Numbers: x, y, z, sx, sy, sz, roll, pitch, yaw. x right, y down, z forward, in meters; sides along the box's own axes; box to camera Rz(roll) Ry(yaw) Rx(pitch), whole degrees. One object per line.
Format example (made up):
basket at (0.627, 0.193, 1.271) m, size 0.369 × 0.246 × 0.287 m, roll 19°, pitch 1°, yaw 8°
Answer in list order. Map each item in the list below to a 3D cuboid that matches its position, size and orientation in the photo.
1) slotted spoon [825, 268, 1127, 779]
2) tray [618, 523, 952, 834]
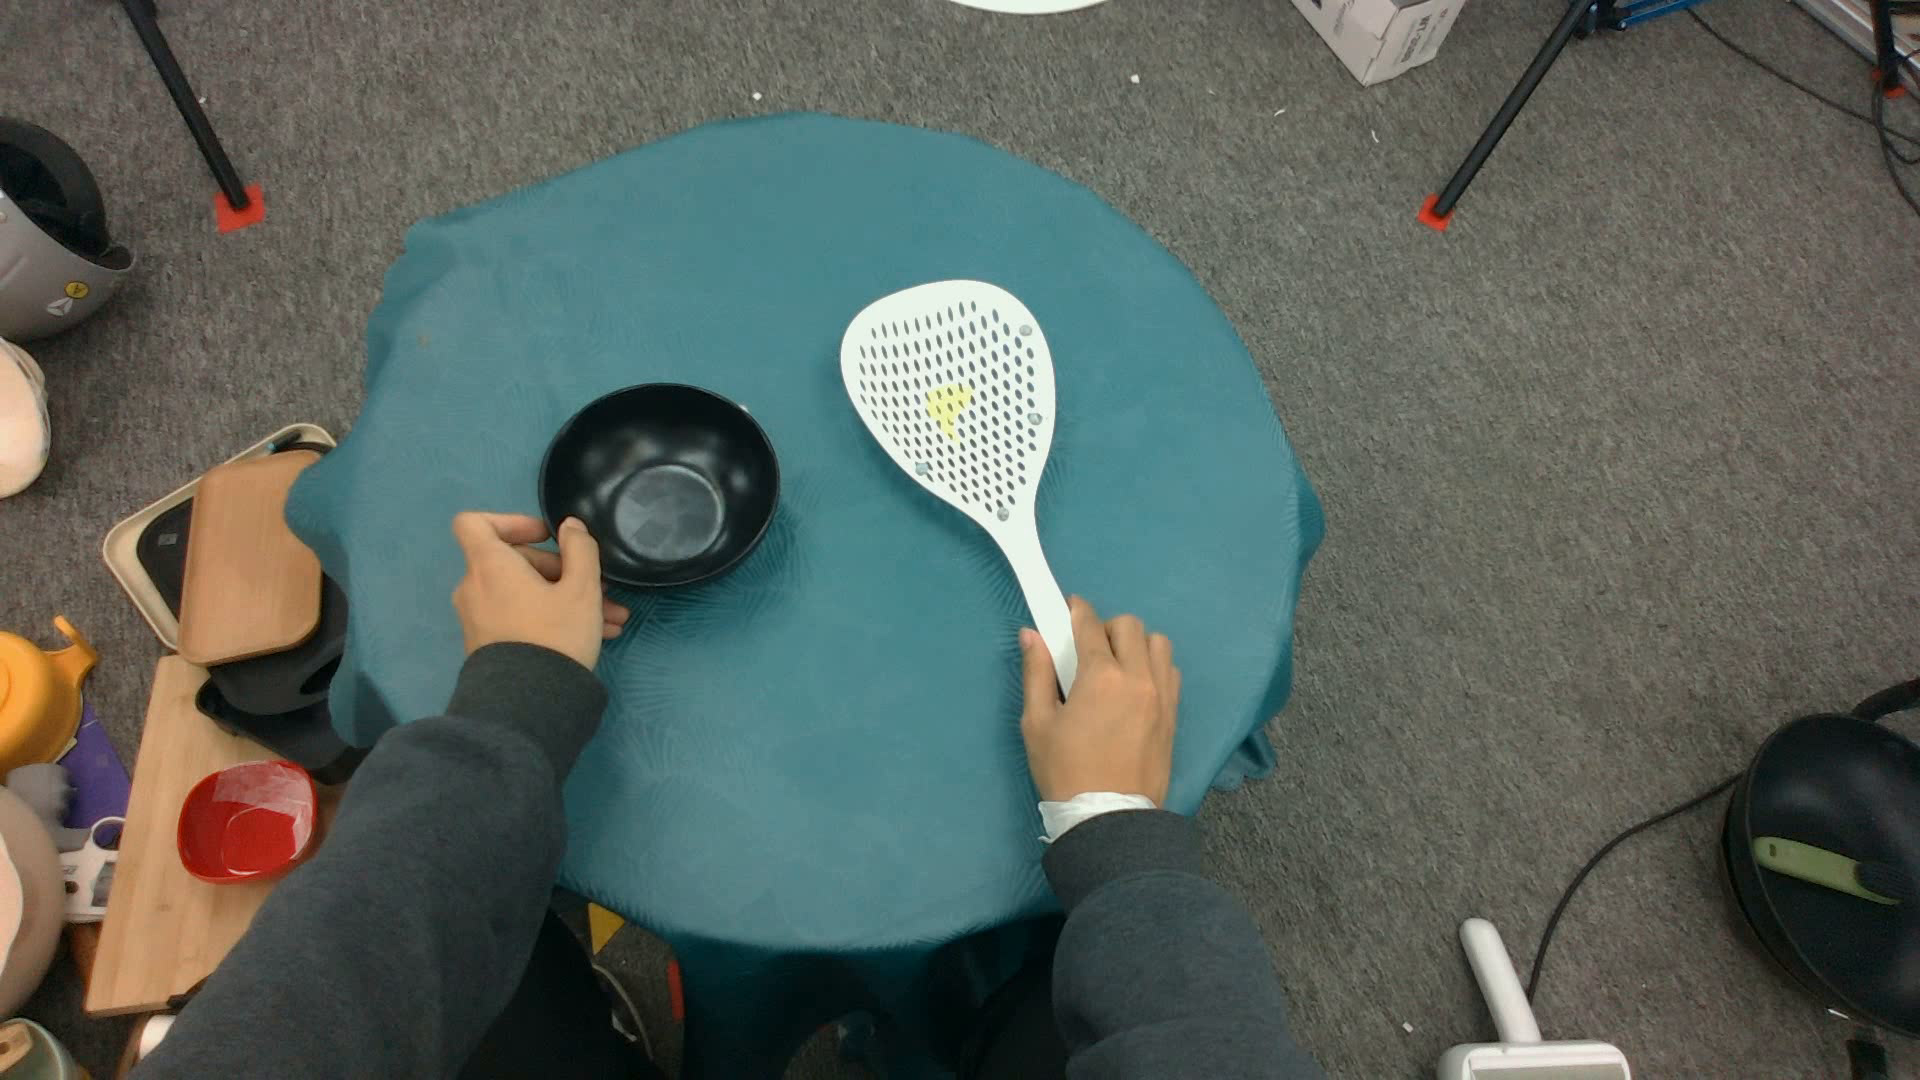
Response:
slotted spoon at (0.023, -0.016, 0.853) m, size 0.137 × 0.050 × 0.348 m, roll -18°, pitch 68°, yaw -16°
tray at (-0.176, 0.134, 1.385) m, size 0.300 × 0.027 × 0.192 m, roll 39°, pitch 65°, yaw 13°
